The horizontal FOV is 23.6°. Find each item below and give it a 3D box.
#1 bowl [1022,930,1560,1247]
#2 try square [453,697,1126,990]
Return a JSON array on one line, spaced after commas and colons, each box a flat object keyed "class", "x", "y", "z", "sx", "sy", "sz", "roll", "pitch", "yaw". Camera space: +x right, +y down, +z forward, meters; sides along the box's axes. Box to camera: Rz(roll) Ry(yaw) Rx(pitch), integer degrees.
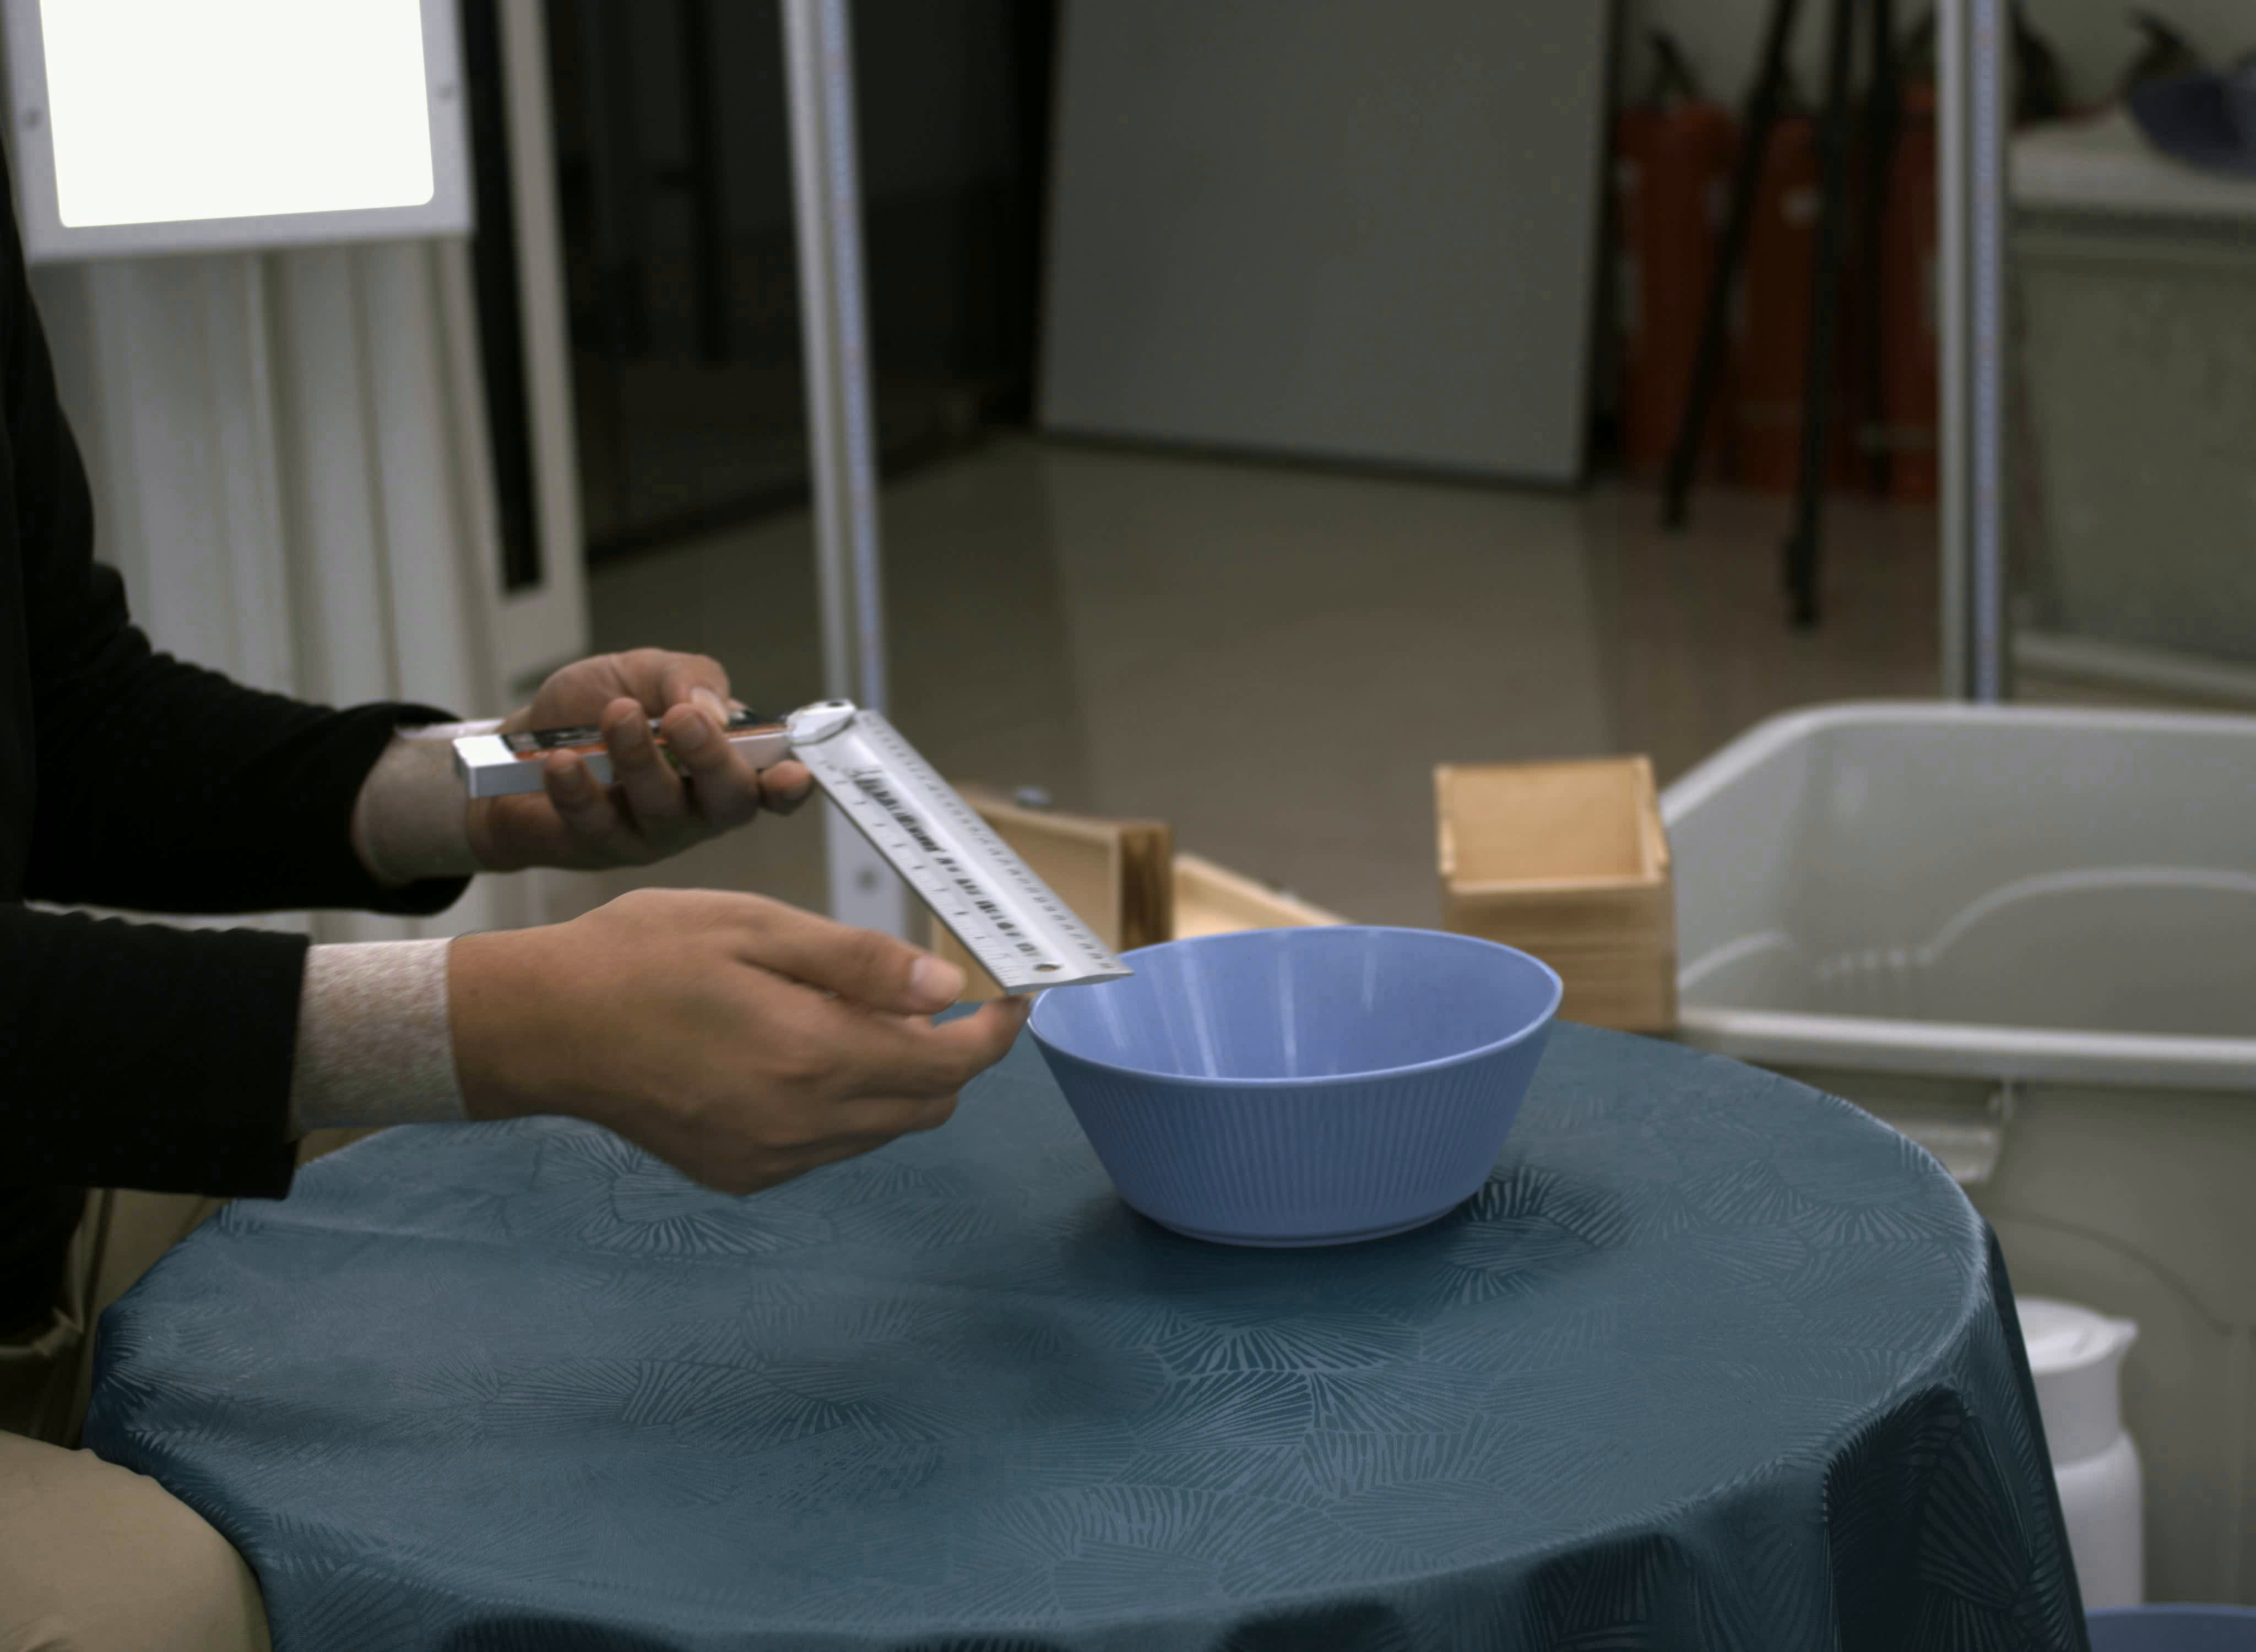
[{"class": "bowl", "x": 0.054, "y": 0.087, "z": 1.745, "sx": 0.174, "sy": 0.071, "sz": 0.176, "roll": -4, "pitch": 14, "yaw": 0}, {"class": "try square", "x": -0.116, "y": 0.012, "z": 1.730, "sx": 0.149, "sy": 0.016, "sz": 0.315, "roll": -11, "pitch": 18, "yaw": -14}]
